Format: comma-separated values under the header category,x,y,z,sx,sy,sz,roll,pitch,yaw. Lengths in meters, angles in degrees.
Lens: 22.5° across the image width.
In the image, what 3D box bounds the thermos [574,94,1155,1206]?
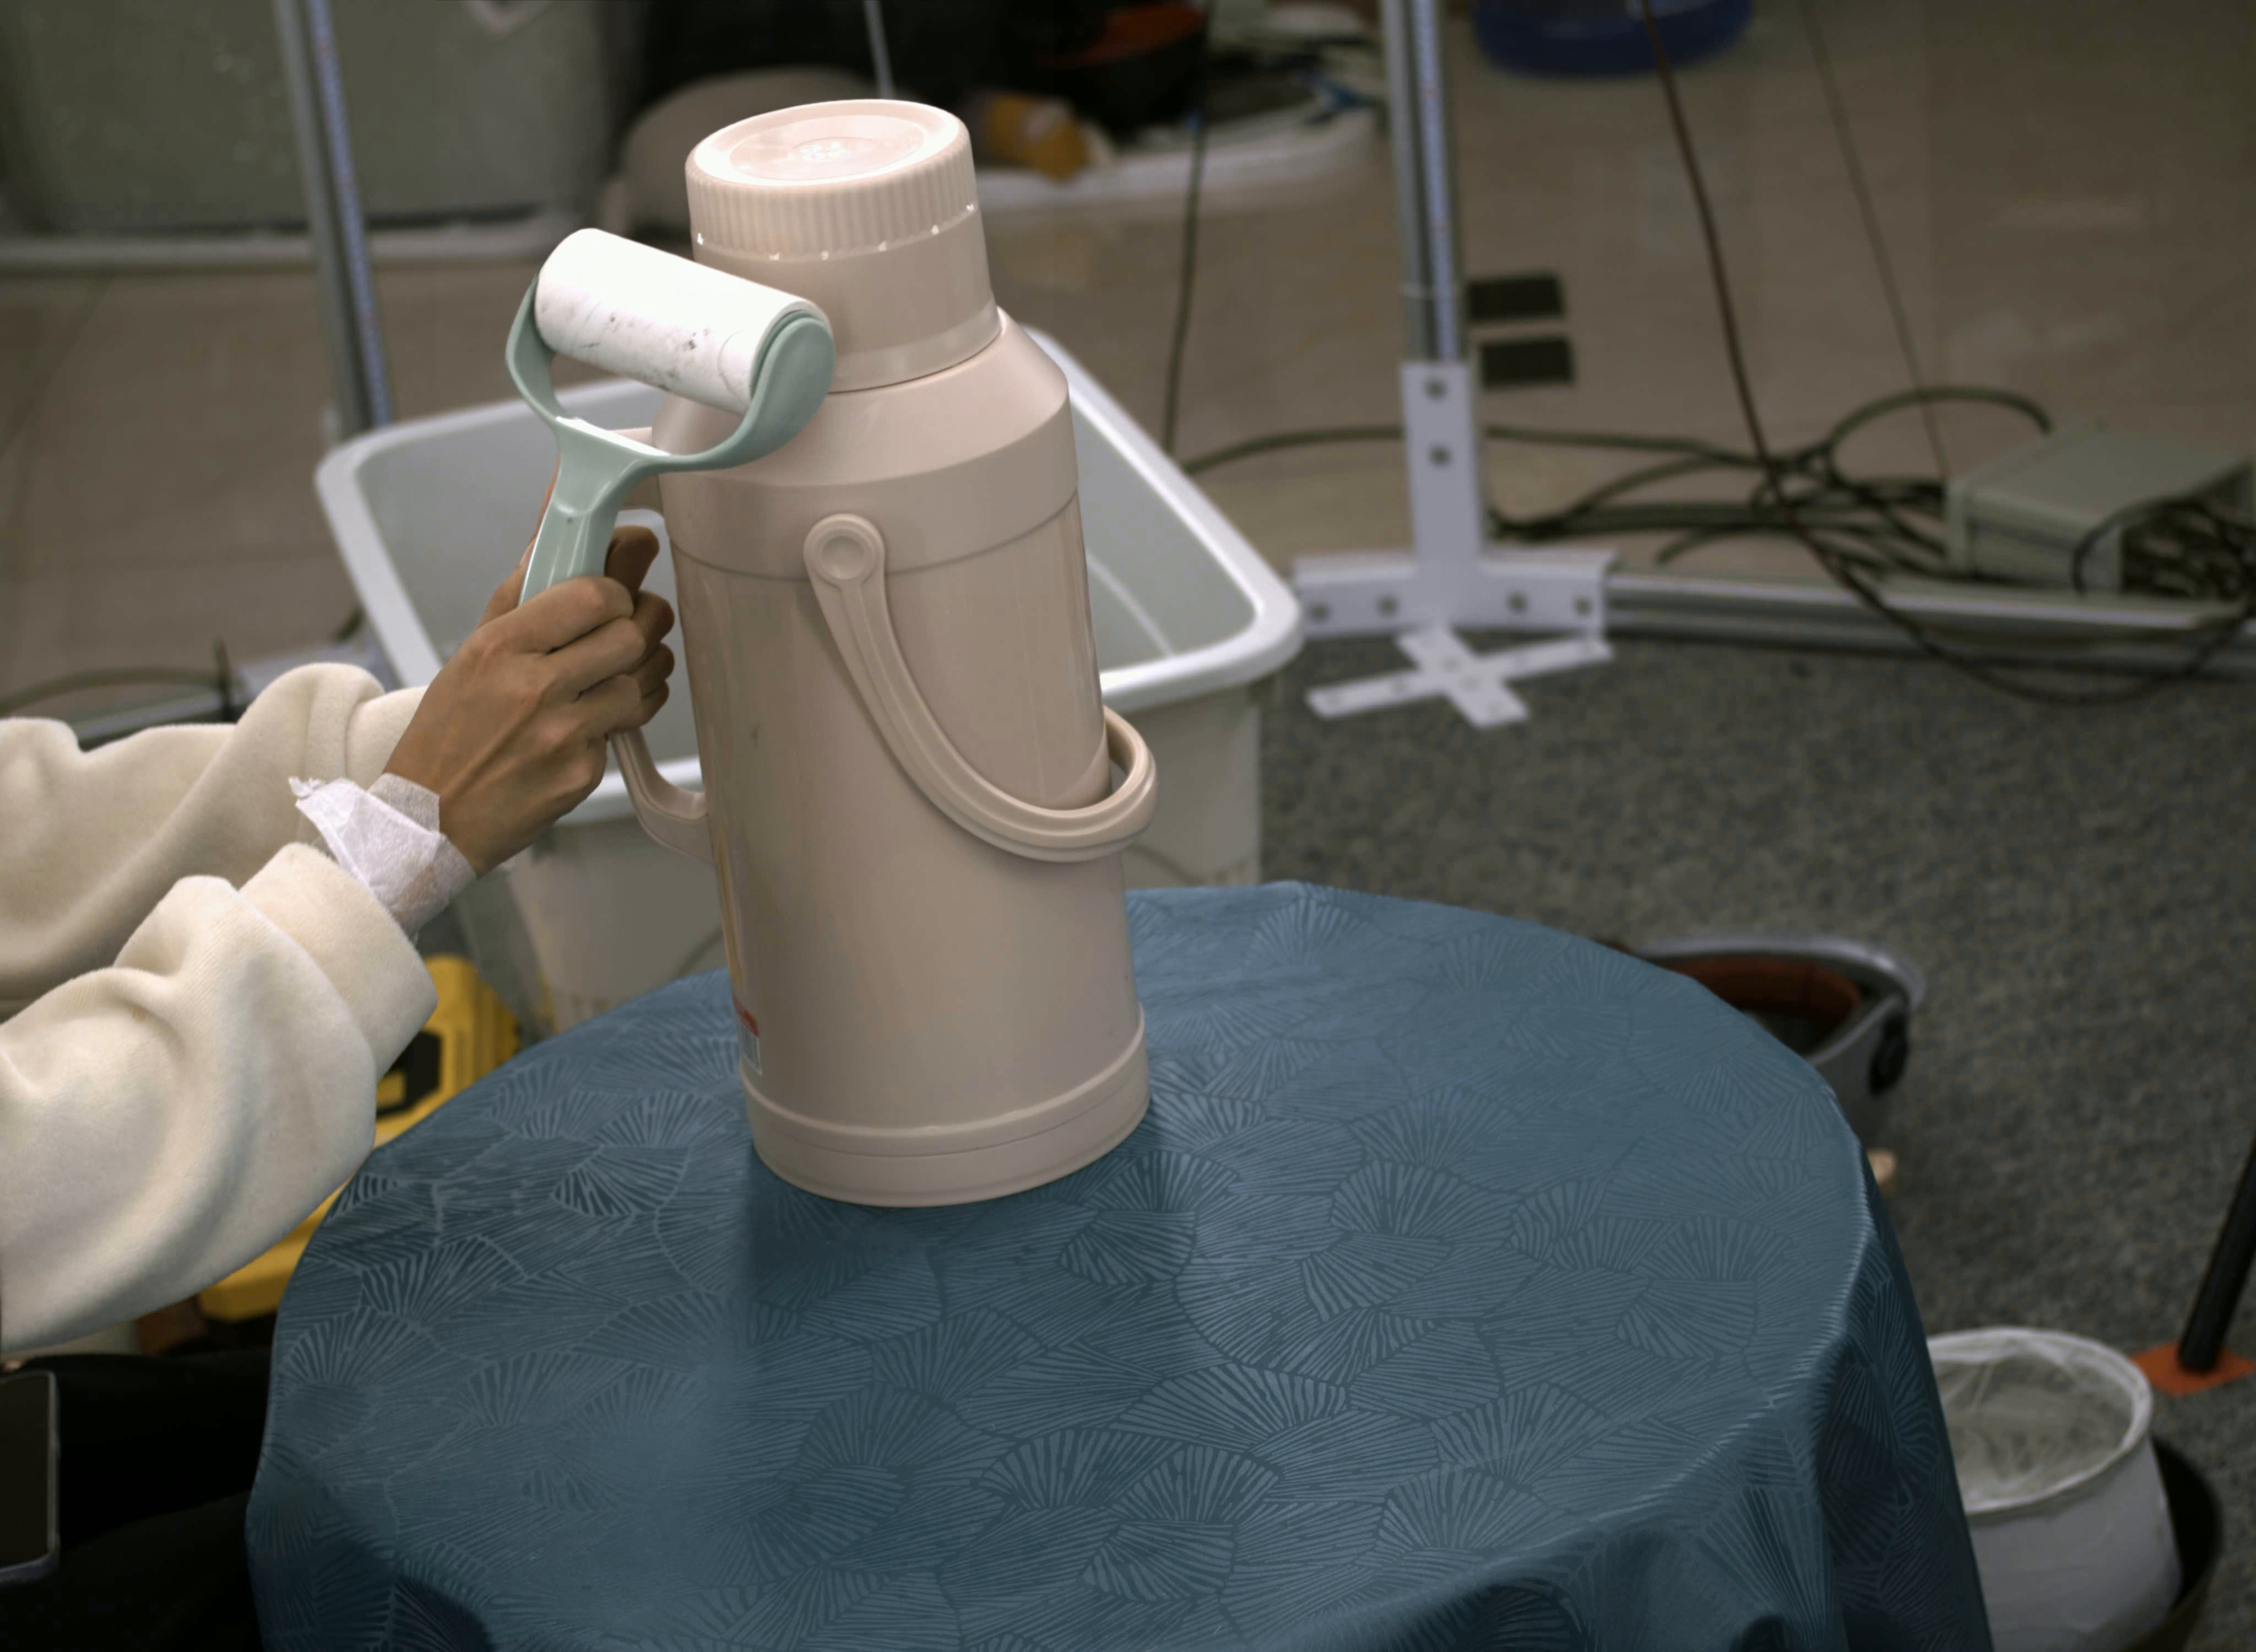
category,x,y,z,sx,sy,sz,roll,pitch,yaw
thermos,-0.103,-0.066,2.138,0.207,0.413,0.172,-4,27,5

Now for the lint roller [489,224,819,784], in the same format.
category,x,y,z,sx,sy,sz,roll,pitch,yaw
lint roller,-0.193,-0.112,2.008,0.116,0.198,0.049,23,0,27
